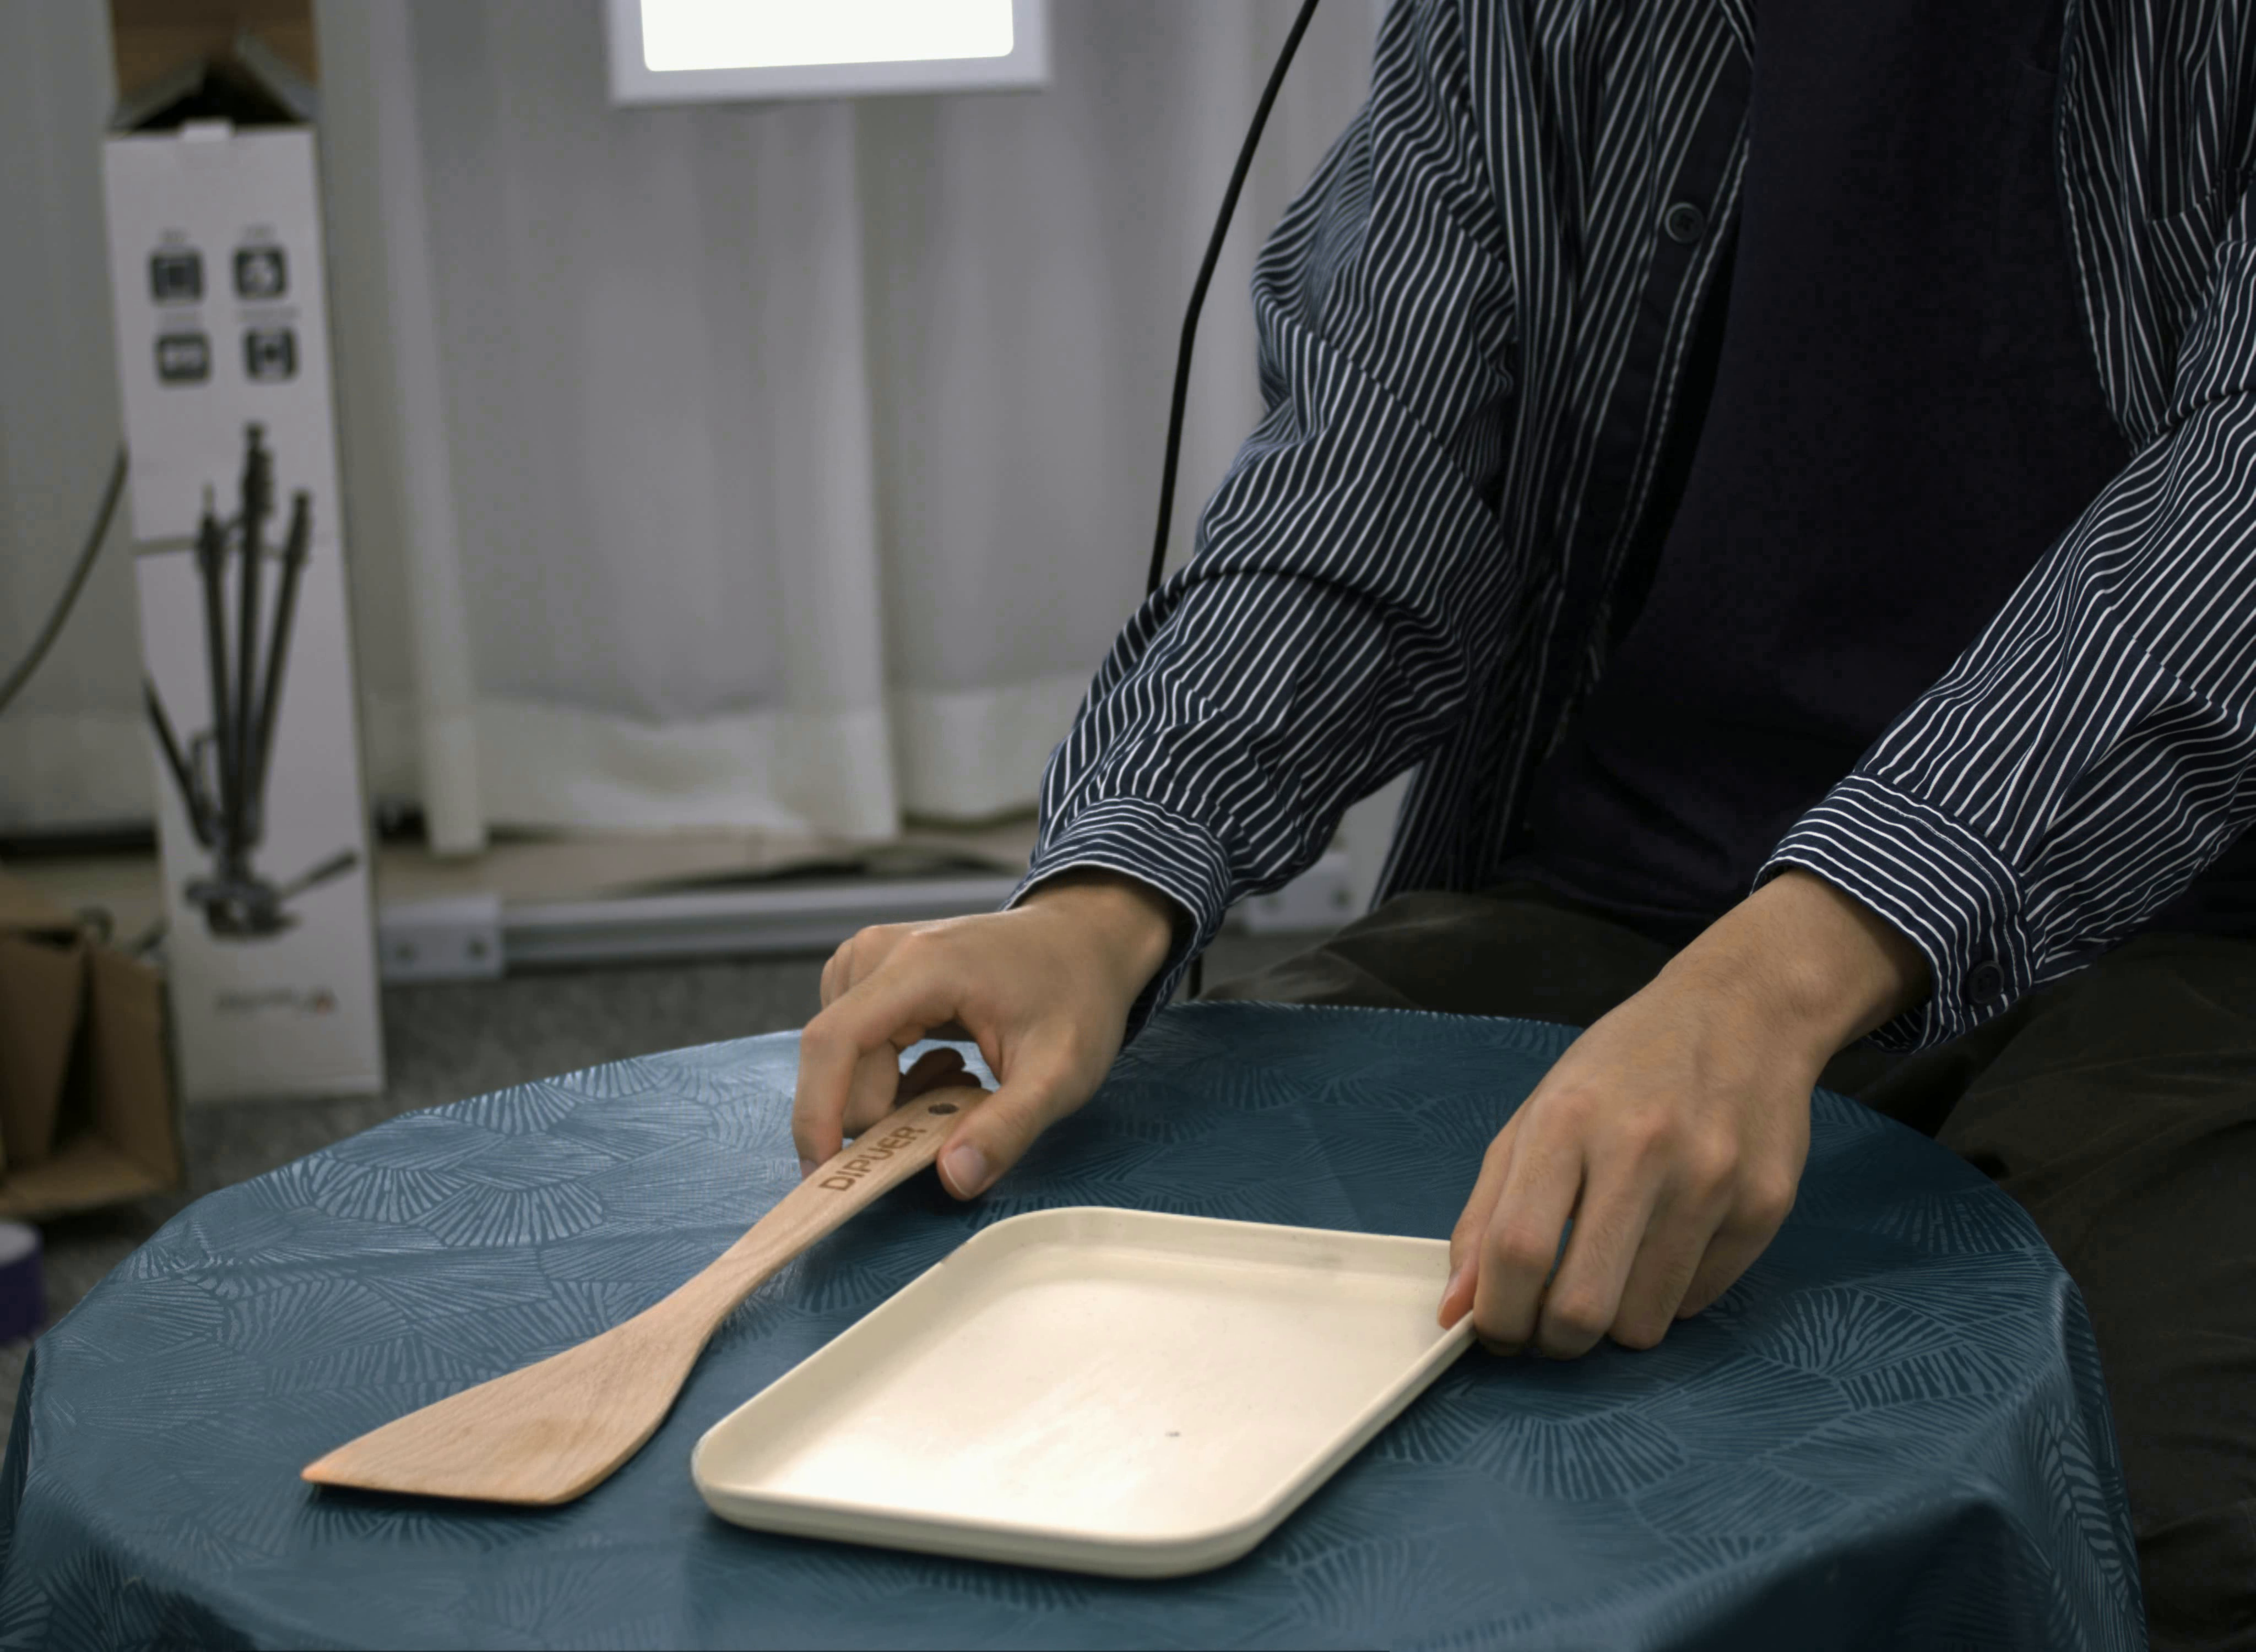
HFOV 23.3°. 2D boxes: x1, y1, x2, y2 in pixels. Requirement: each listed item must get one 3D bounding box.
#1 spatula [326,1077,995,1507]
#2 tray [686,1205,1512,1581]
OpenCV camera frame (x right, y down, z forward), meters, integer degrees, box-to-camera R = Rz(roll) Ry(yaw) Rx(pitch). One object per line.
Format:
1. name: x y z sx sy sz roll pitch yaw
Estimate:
1. spatula: -0.118 0.134 1.618 0.080 0.016 0.329 5 22 25
2. tray: -0.004 0.157 1.526 0.171 0.017 0.240 4 16 24
